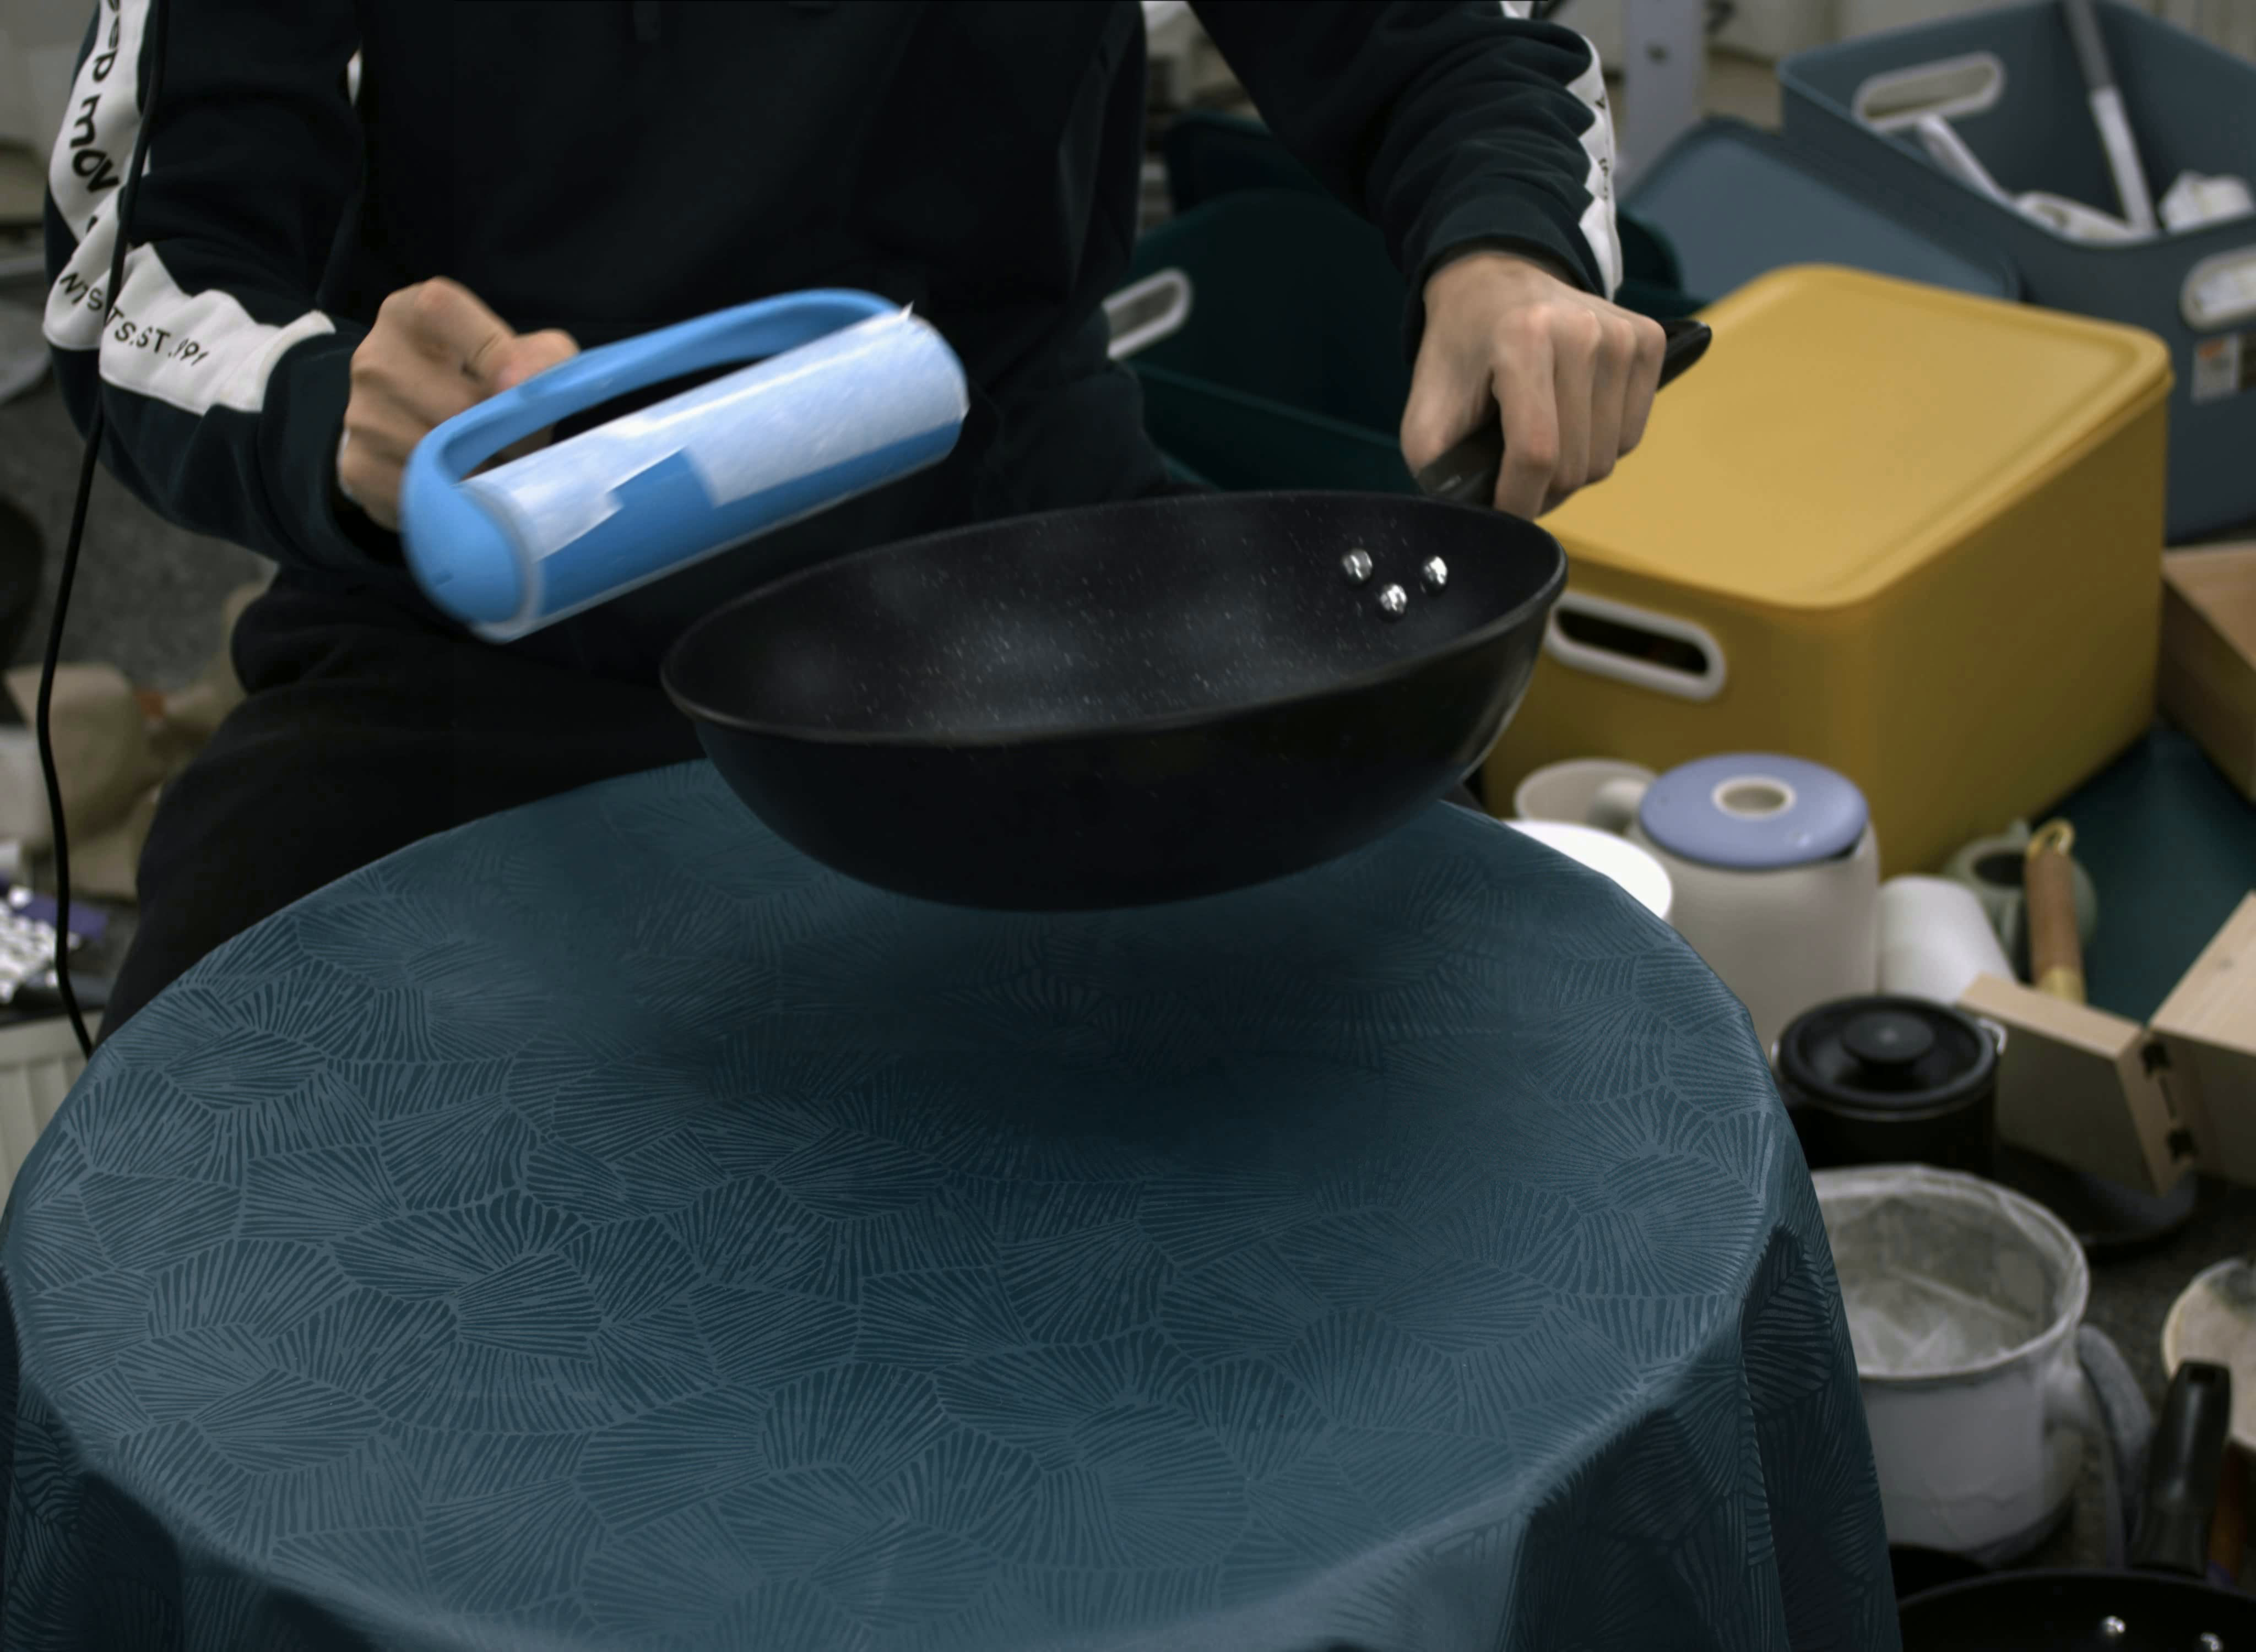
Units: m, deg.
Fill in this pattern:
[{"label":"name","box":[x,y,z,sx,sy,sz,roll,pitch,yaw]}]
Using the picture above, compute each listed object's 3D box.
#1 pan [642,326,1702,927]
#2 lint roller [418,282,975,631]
[{"label":"pan","box":[0.049,-0.067,1.958,0.308,0.111,0.482,10,23,42]},{"label":"lint roller","box":[-0.179,-0.128,1.896,0.179,0.067,0.232,7,26,37]}]
